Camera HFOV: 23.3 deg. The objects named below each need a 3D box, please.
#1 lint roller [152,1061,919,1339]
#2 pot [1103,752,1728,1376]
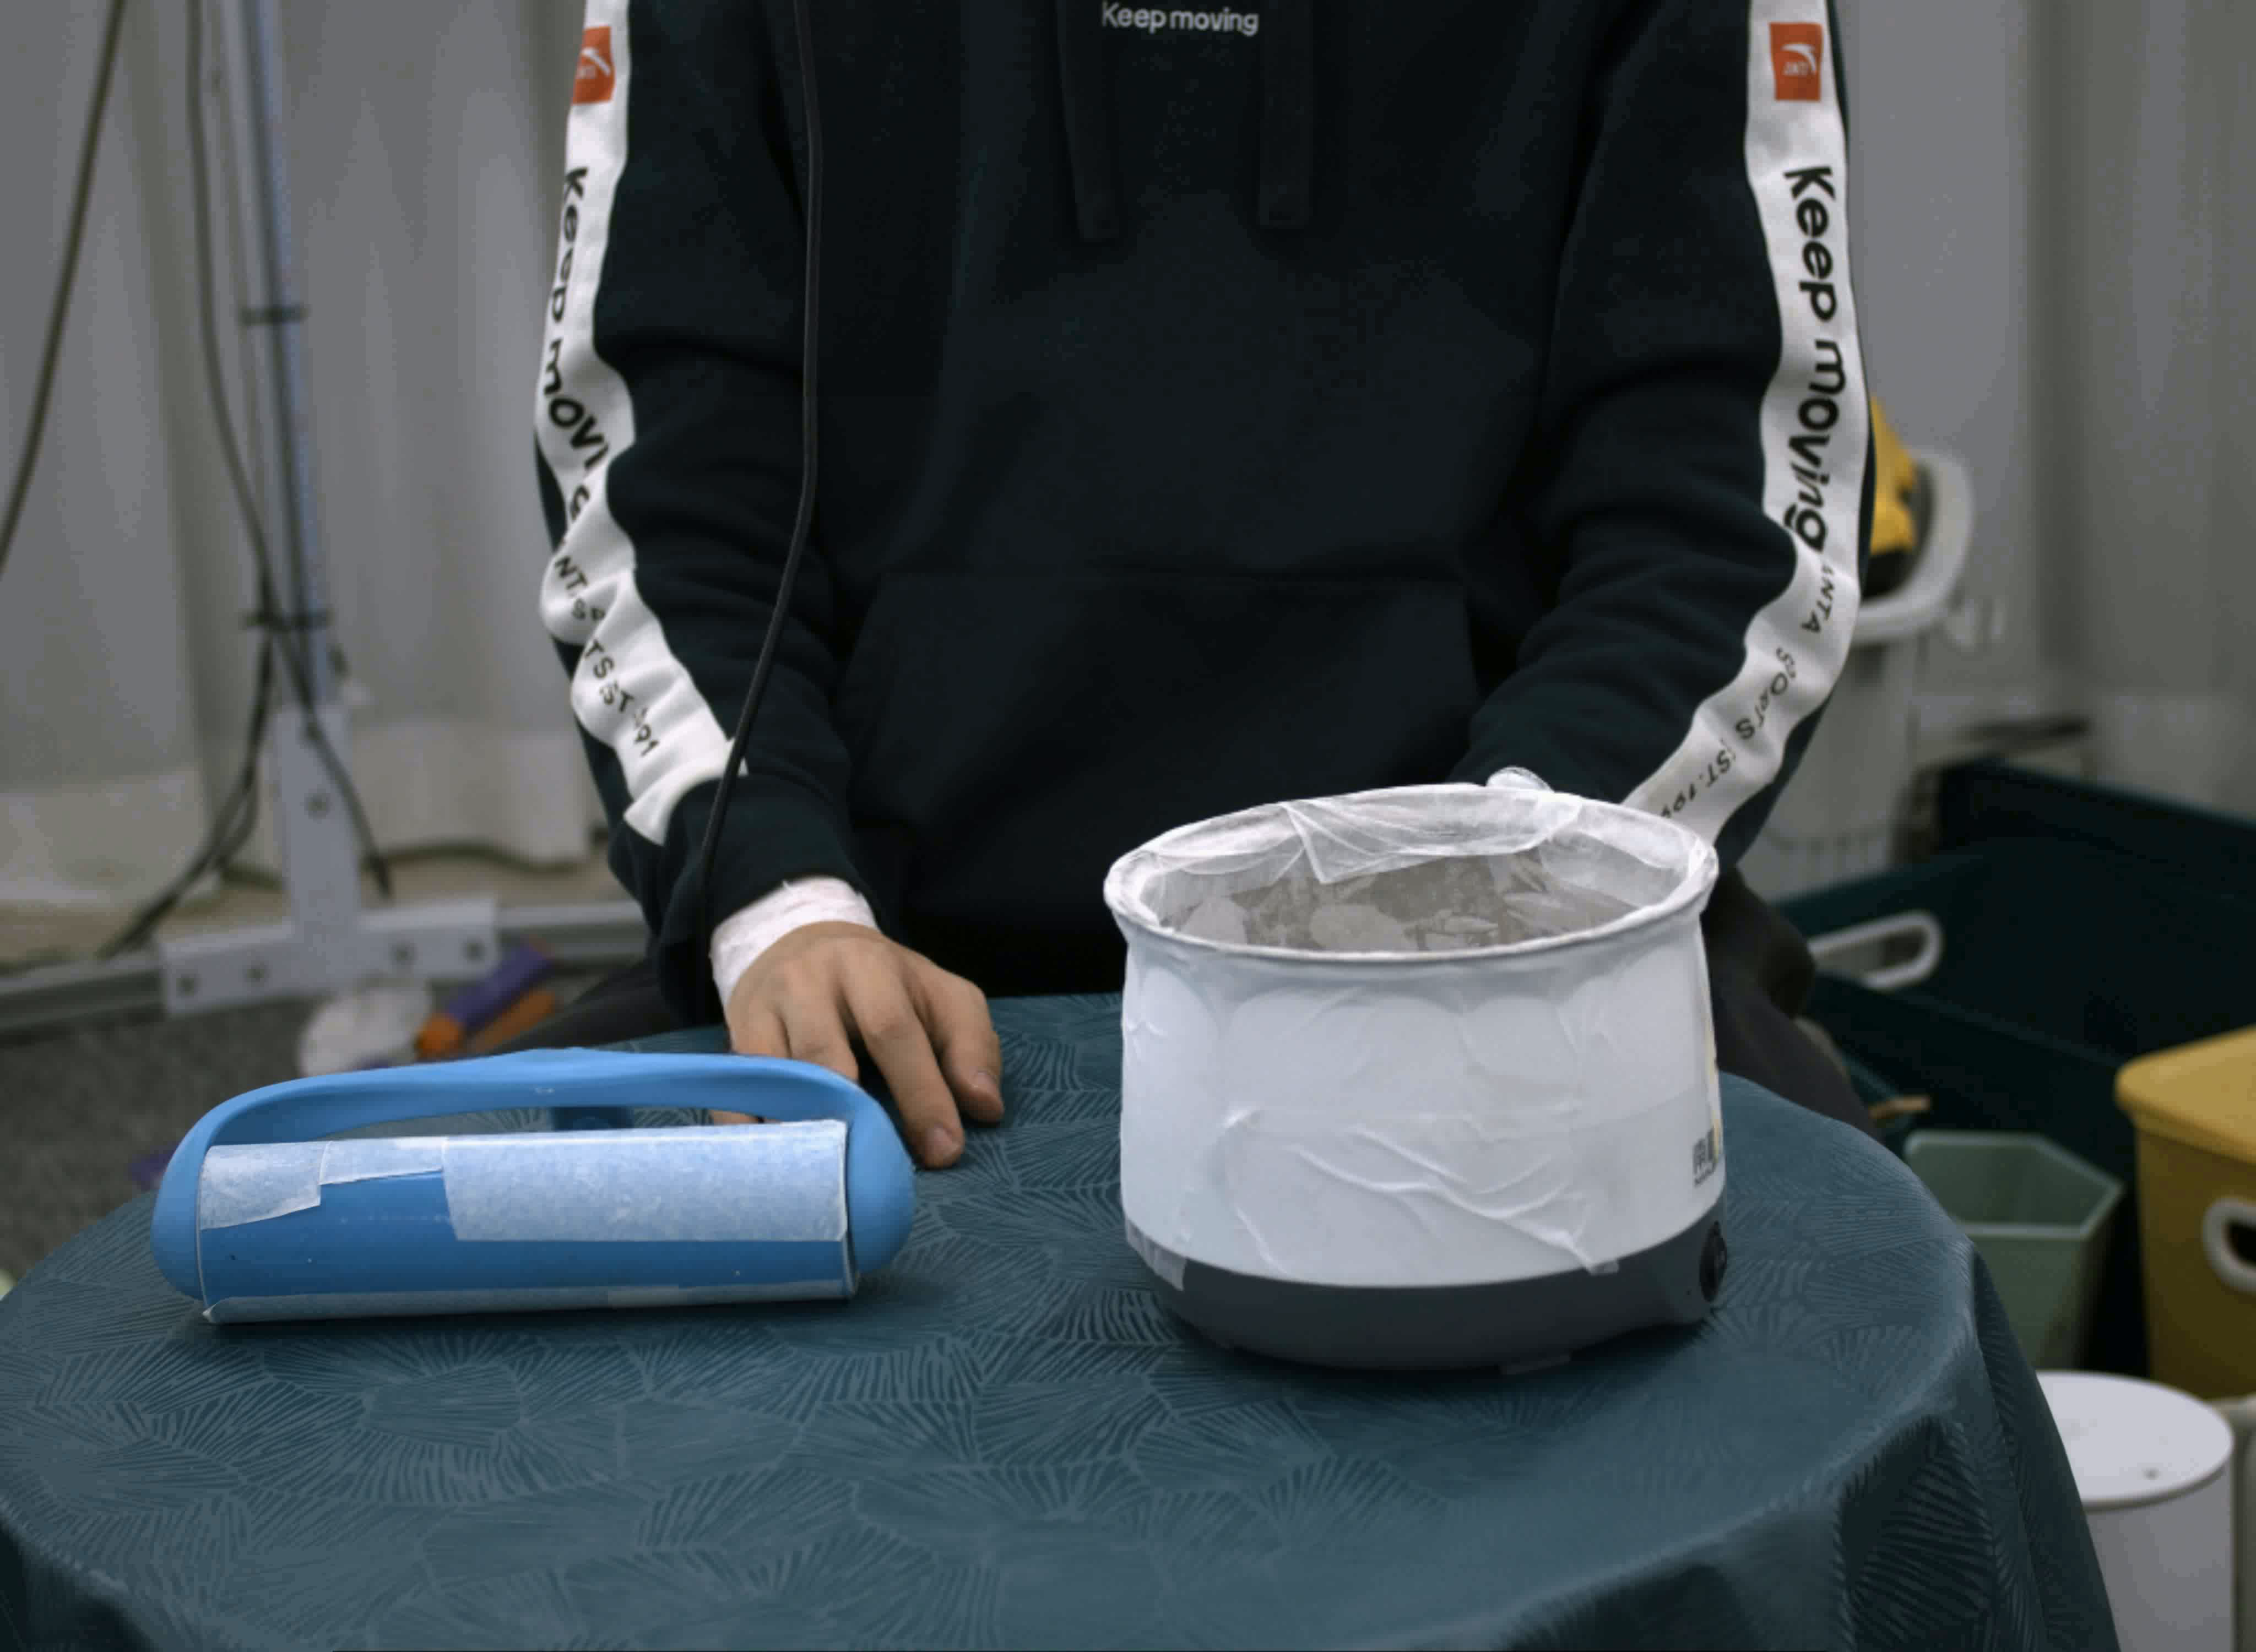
[{"bbox_3d":[-0.179,0.103,1.686,0.228,0.067,0.181,-5,16,-1],"label":"lint roller"},{"bbox_3d":[0.094,0.064,1.612,0.179,0.136,0.234,3,17,20],"label":"pot"}]
